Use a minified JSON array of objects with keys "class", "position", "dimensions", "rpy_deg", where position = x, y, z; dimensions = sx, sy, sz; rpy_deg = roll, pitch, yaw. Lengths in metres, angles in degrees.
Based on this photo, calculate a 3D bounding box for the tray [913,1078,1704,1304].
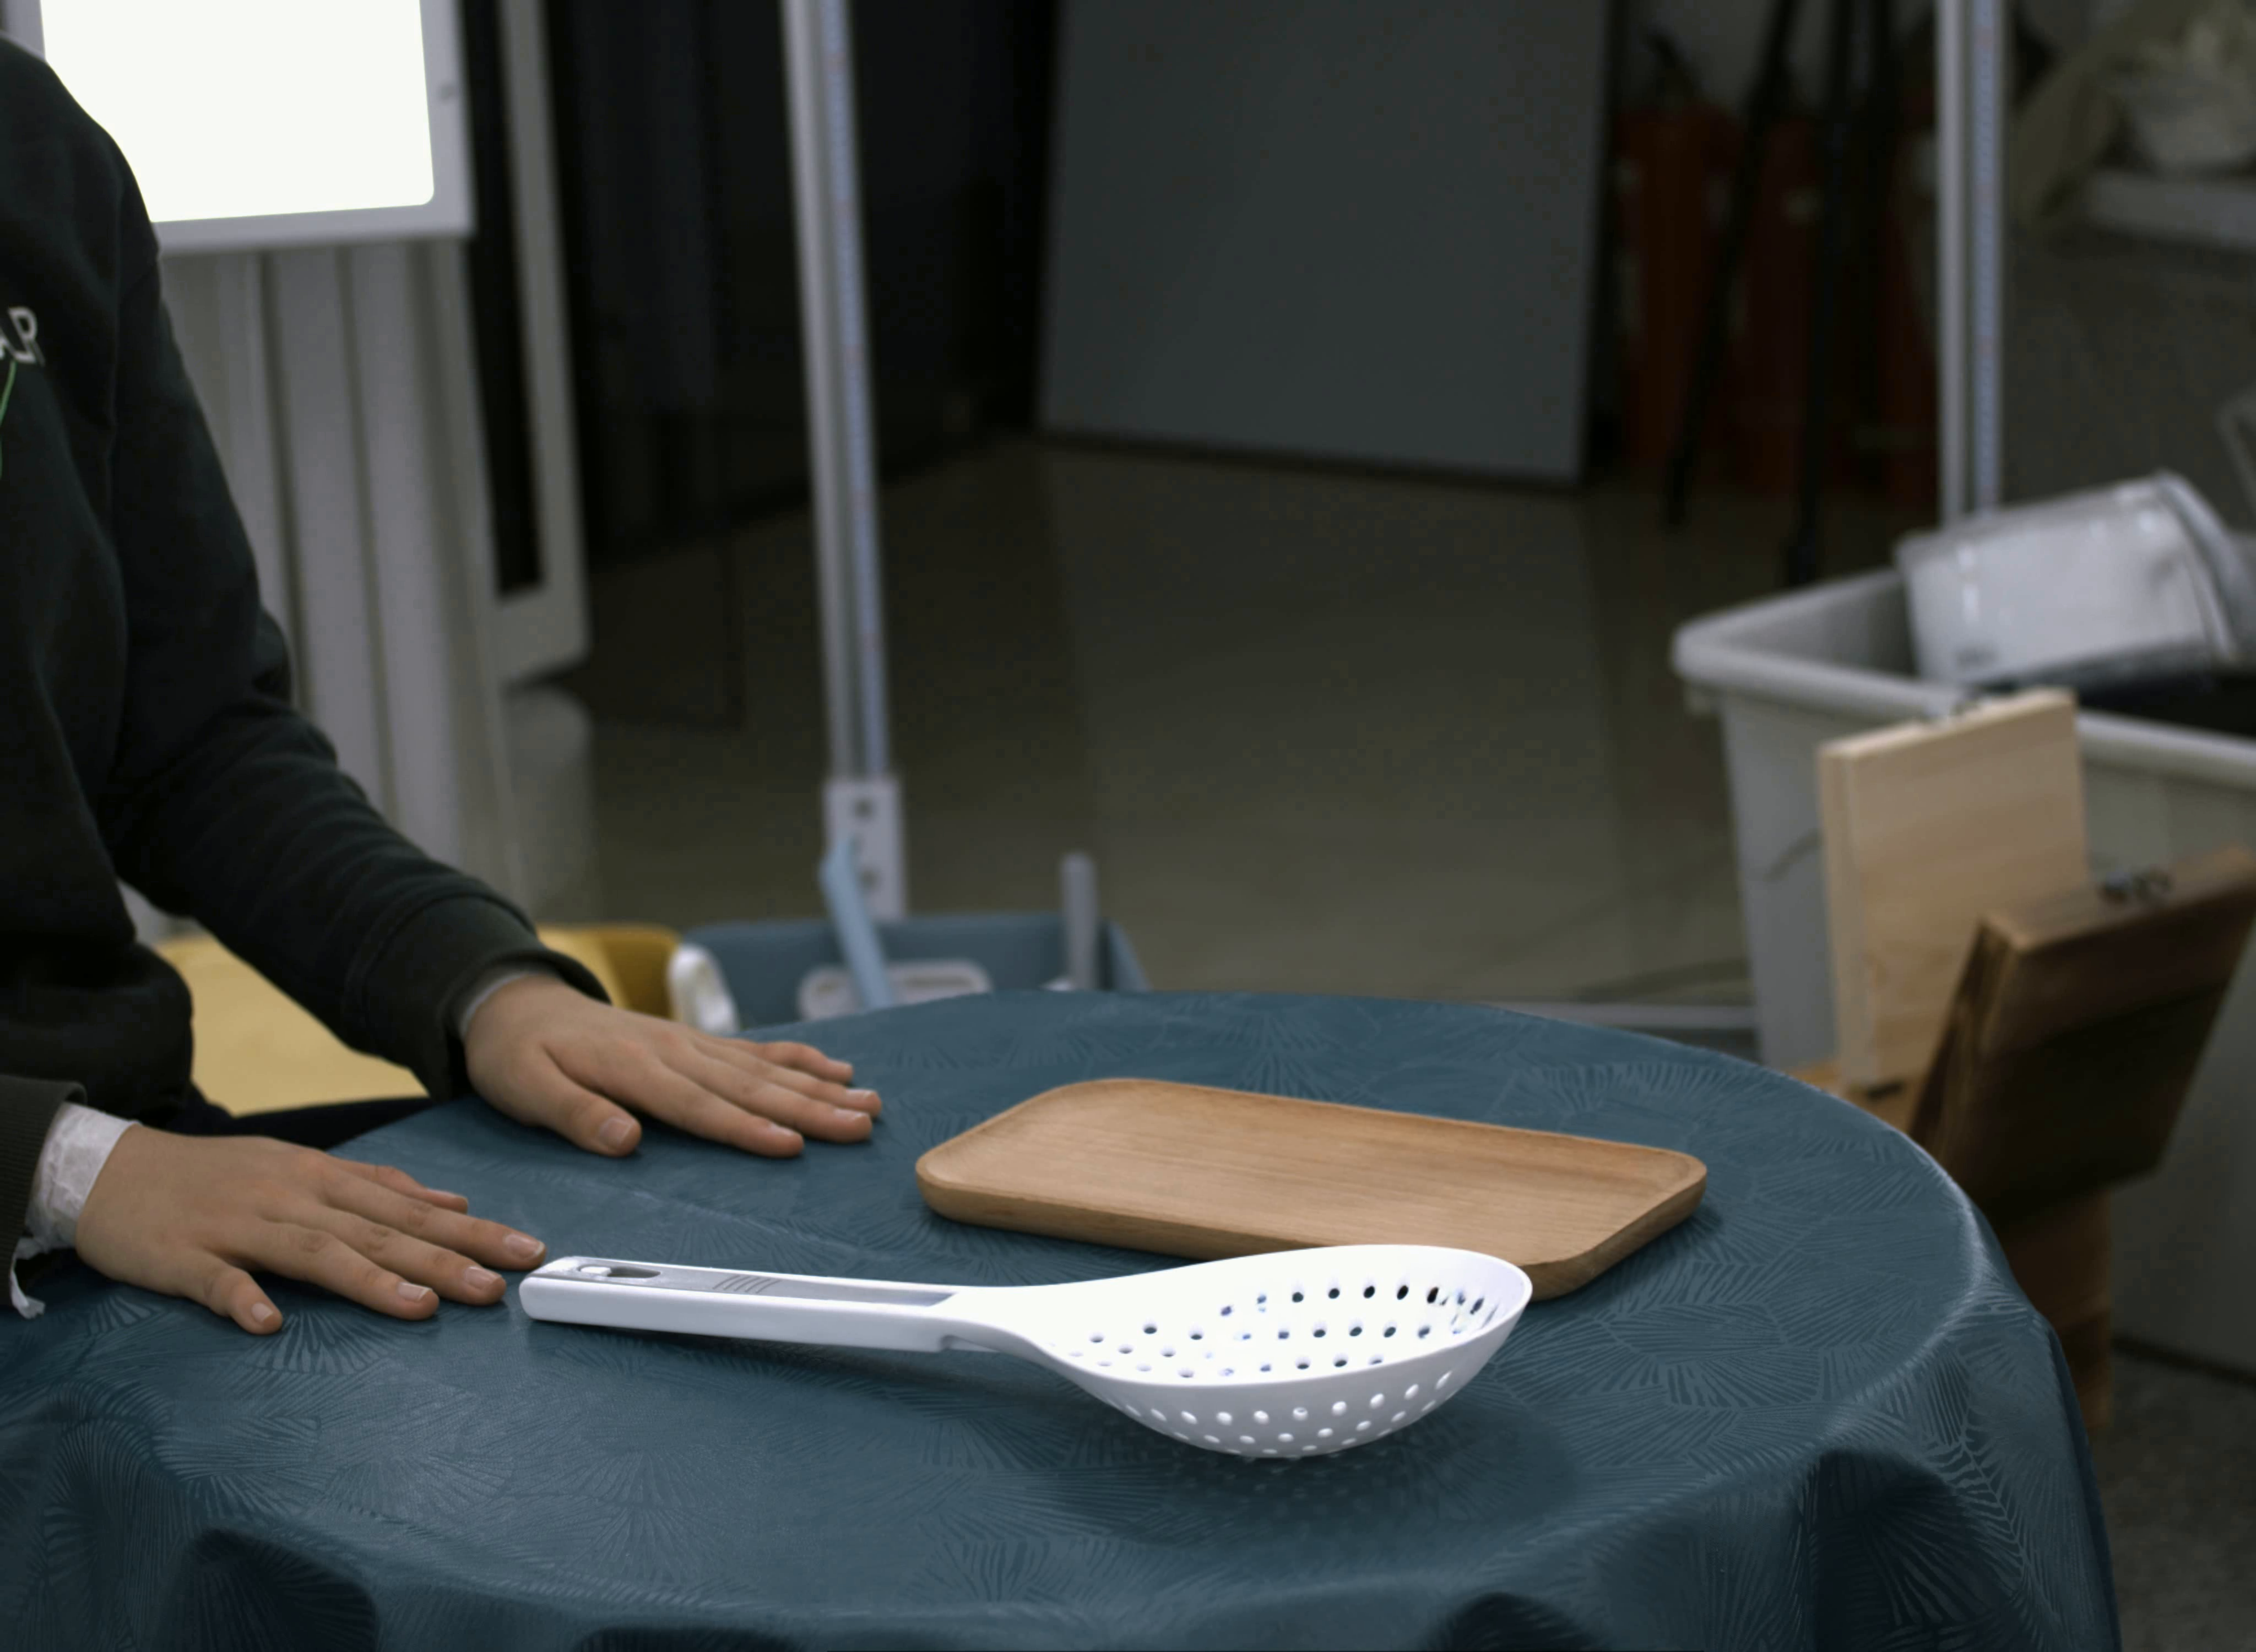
[{"class":"tray","position":[0.057,0.116,1.739],"dimensions":[0.252,0.023,0.128],"rpy_deg":[5,14,34]}]

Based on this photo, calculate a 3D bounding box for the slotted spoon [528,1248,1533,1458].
[{"class":"slotted spoon","position":[-0.039,0.146,1.589],"dimensions":[0.352,0.046,0.133],"rpy_deg":[5,14,35]}]
